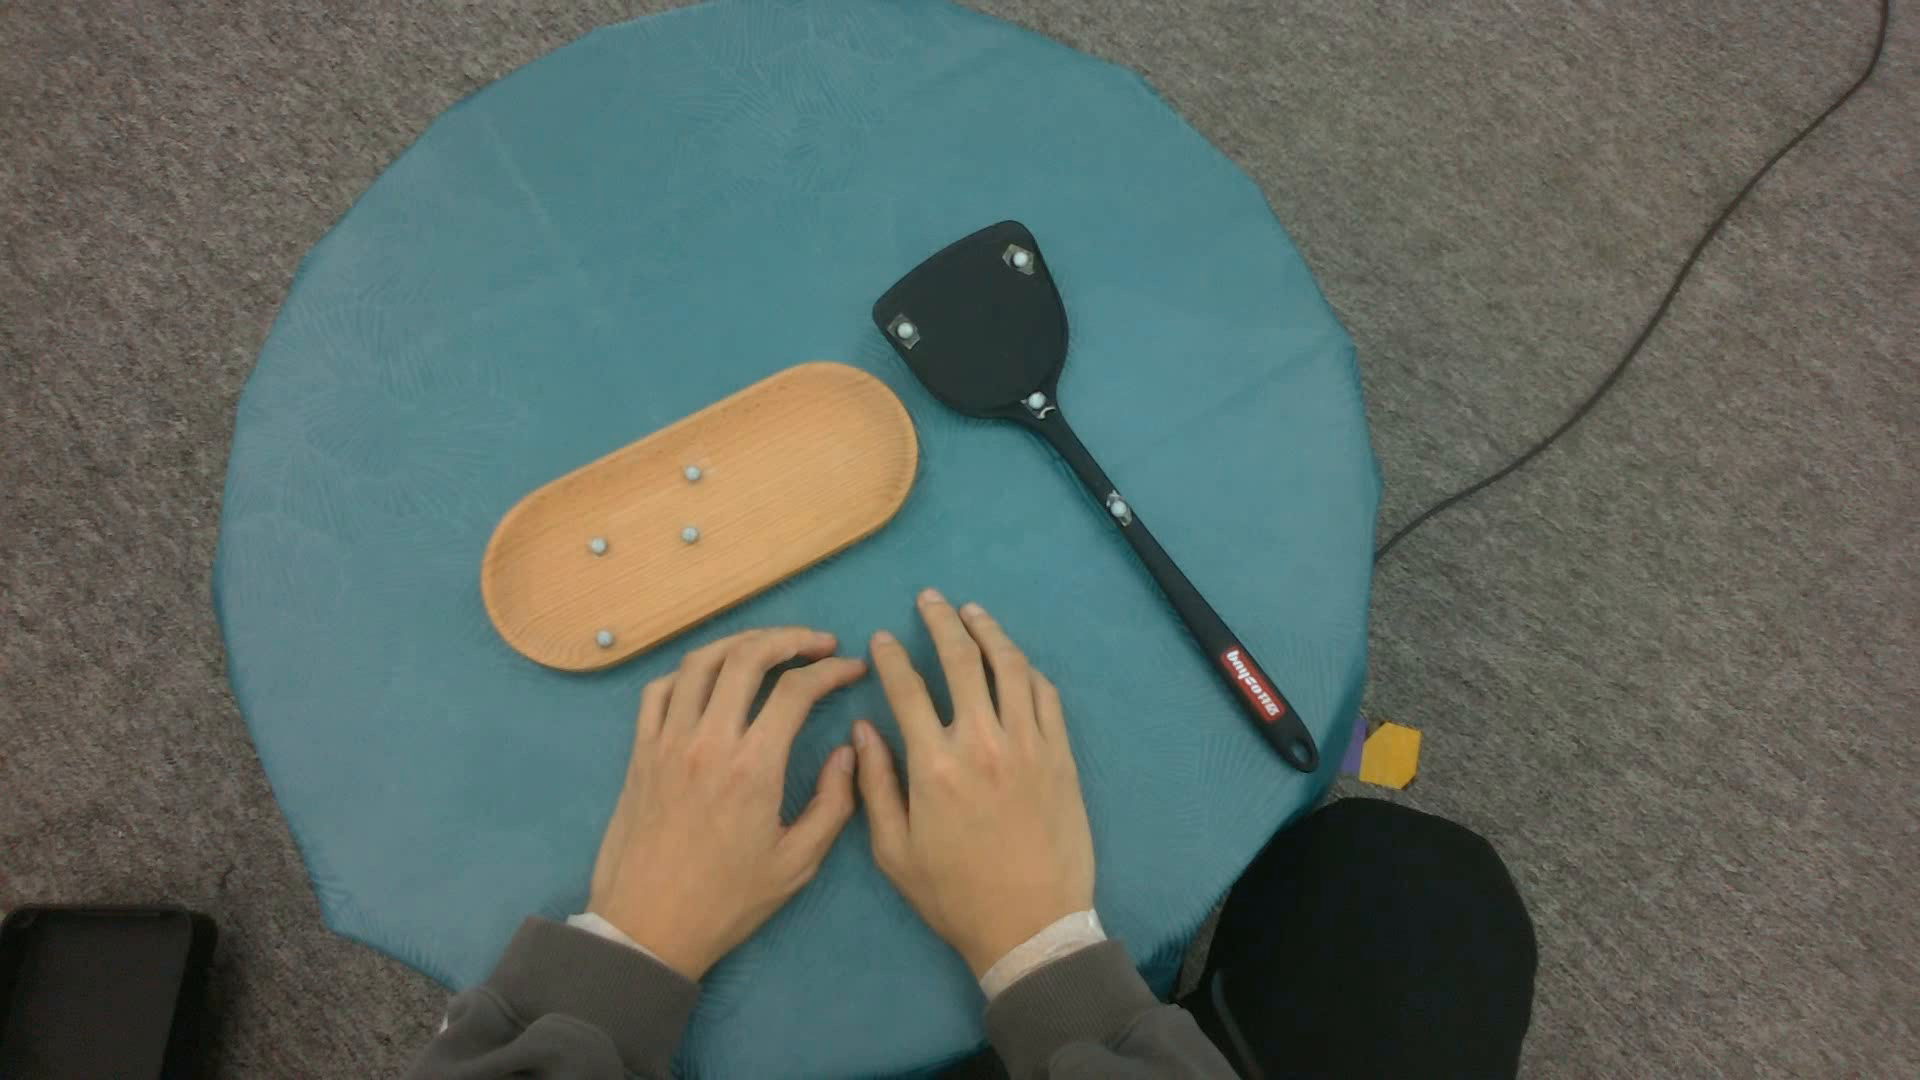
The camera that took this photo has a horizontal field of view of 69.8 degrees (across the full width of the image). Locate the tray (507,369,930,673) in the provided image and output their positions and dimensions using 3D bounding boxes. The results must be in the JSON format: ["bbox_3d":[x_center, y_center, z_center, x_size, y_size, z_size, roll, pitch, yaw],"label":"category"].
[{"bbox_3d":[-0.124,-0.011,0.719,0.231,0.020,0.102,-27,75,-10],"label":"tray"}]

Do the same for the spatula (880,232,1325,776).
[{"bbox_3d":[0.085,-0.015,0.711,0.100,0.040,0.326,-34,76,-9],"label":"spatula"}]
